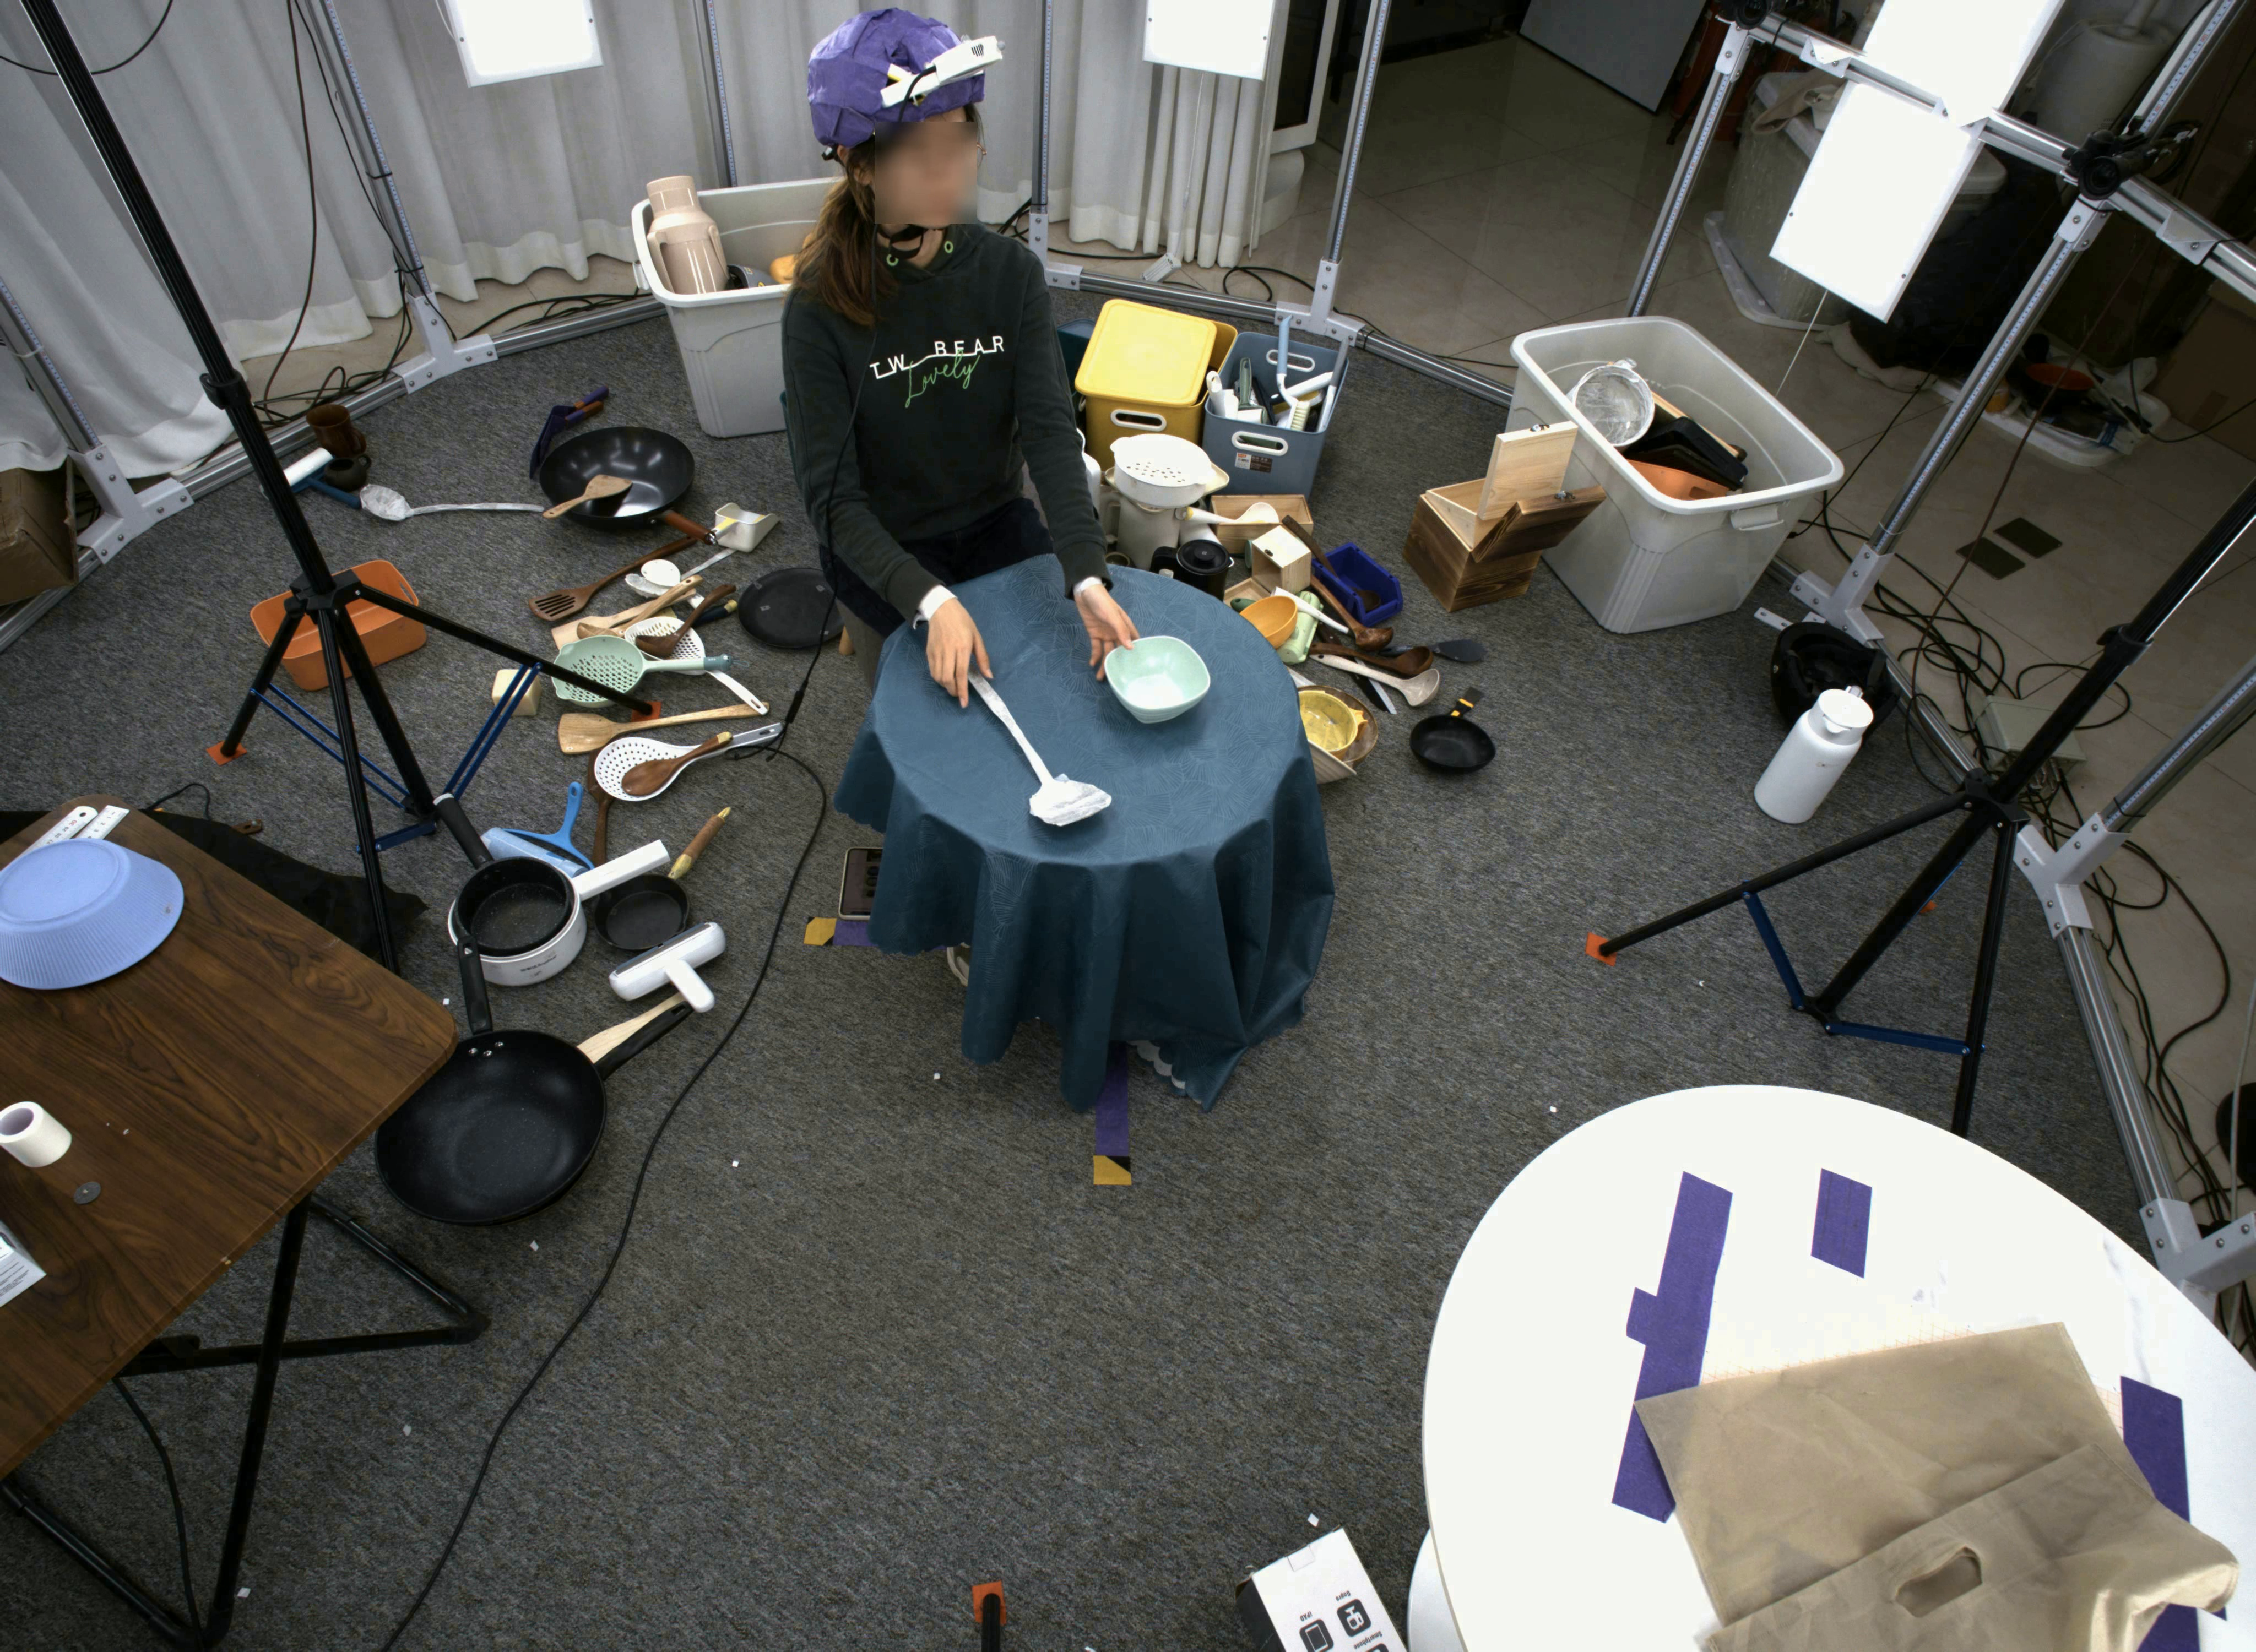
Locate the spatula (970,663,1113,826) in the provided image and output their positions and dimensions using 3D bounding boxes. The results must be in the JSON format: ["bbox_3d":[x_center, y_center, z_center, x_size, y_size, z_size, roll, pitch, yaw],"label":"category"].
[{"bbox_3d":[-0.141,-0.123,1.757,0.099,0.043,0.373,-22,54,-19],"label":"spatula"}]

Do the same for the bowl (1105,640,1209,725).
[{"bbox_3d":[0.038,-0.195,1.822,0.151,0.057,0.155,3,49,-4],"label":"bowl"}]
